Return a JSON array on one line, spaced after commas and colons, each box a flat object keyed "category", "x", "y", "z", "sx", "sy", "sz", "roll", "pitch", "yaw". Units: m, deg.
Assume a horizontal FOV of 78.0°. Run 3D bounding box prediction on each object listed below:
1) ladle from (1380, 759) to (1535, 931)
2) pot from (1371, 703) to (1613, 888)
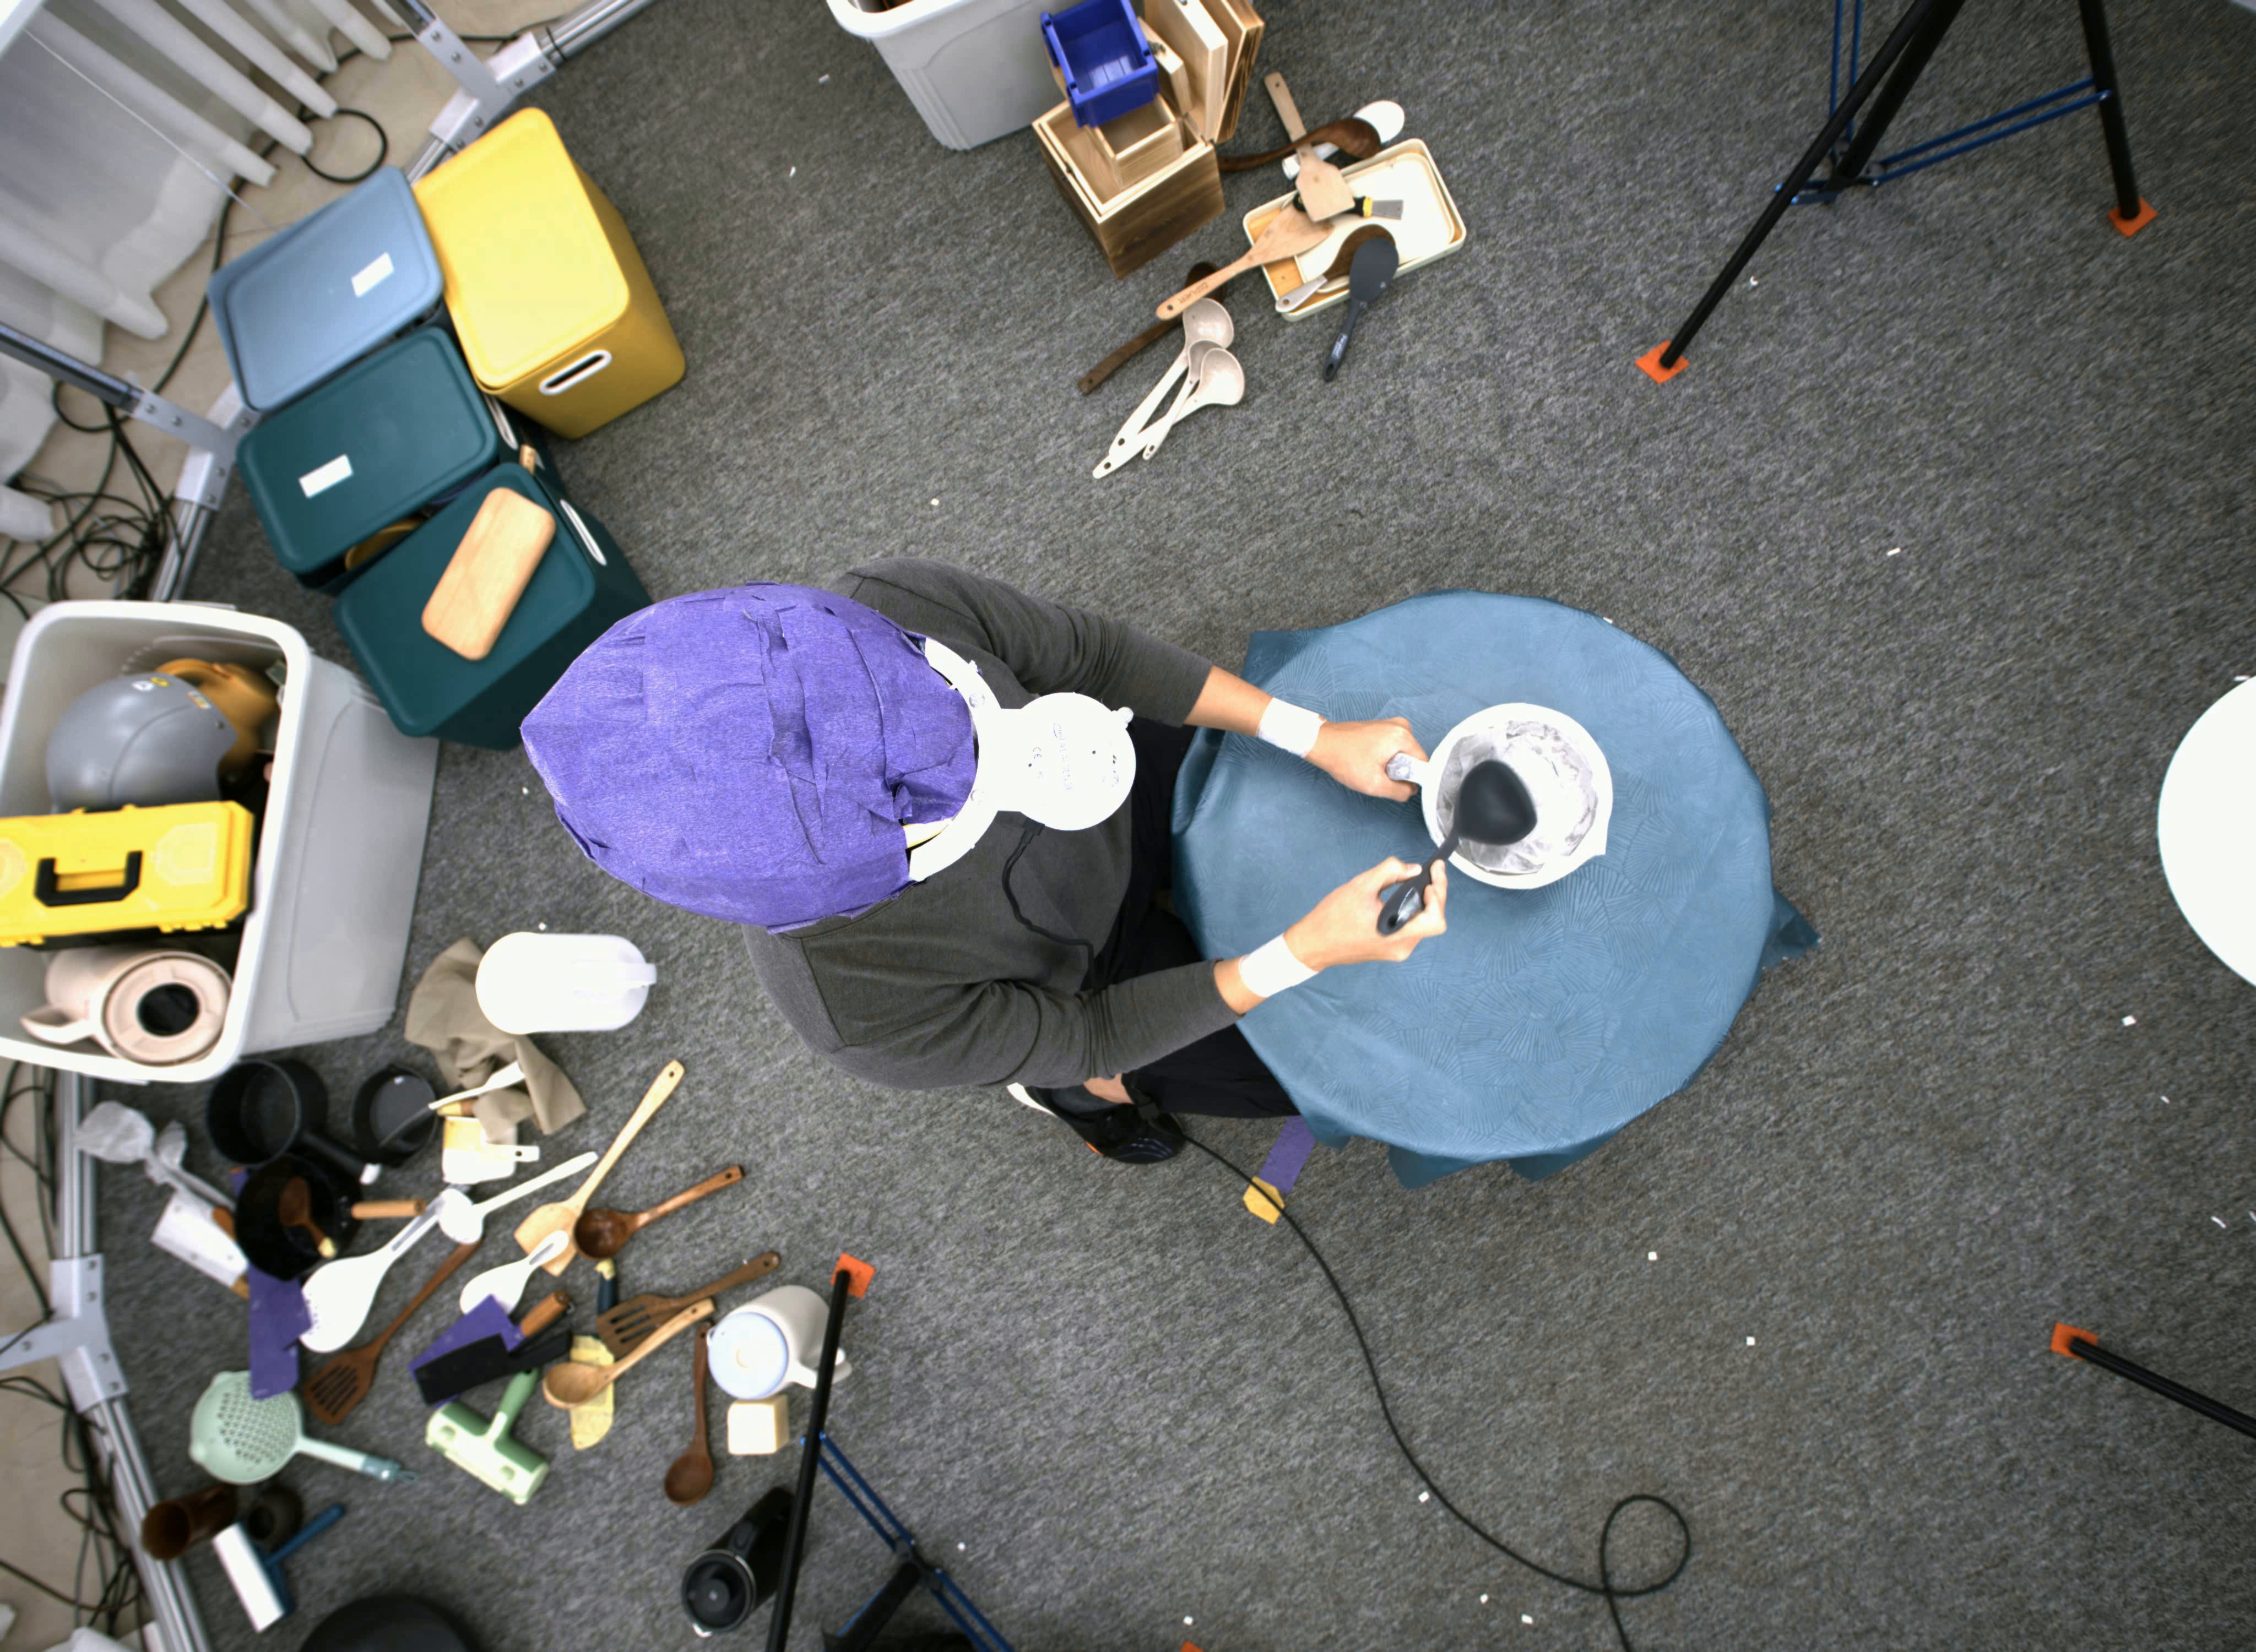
[{"category": "ladle", "x": 0.300, "y": 0.020, "z": 1.254, "sx": 0.065, "sy": 0.307, "sz": 0.086, "roll": -31, "pitch": 93, "yaw": 35}, {"category": "pot", "x": 0.357, "y": -0.038, "z": 1.375, "sx": 0.234, "sy": 0.136, "sz": 0.179, "roll": 15, "pitch": 95, "yaw": 12}]
